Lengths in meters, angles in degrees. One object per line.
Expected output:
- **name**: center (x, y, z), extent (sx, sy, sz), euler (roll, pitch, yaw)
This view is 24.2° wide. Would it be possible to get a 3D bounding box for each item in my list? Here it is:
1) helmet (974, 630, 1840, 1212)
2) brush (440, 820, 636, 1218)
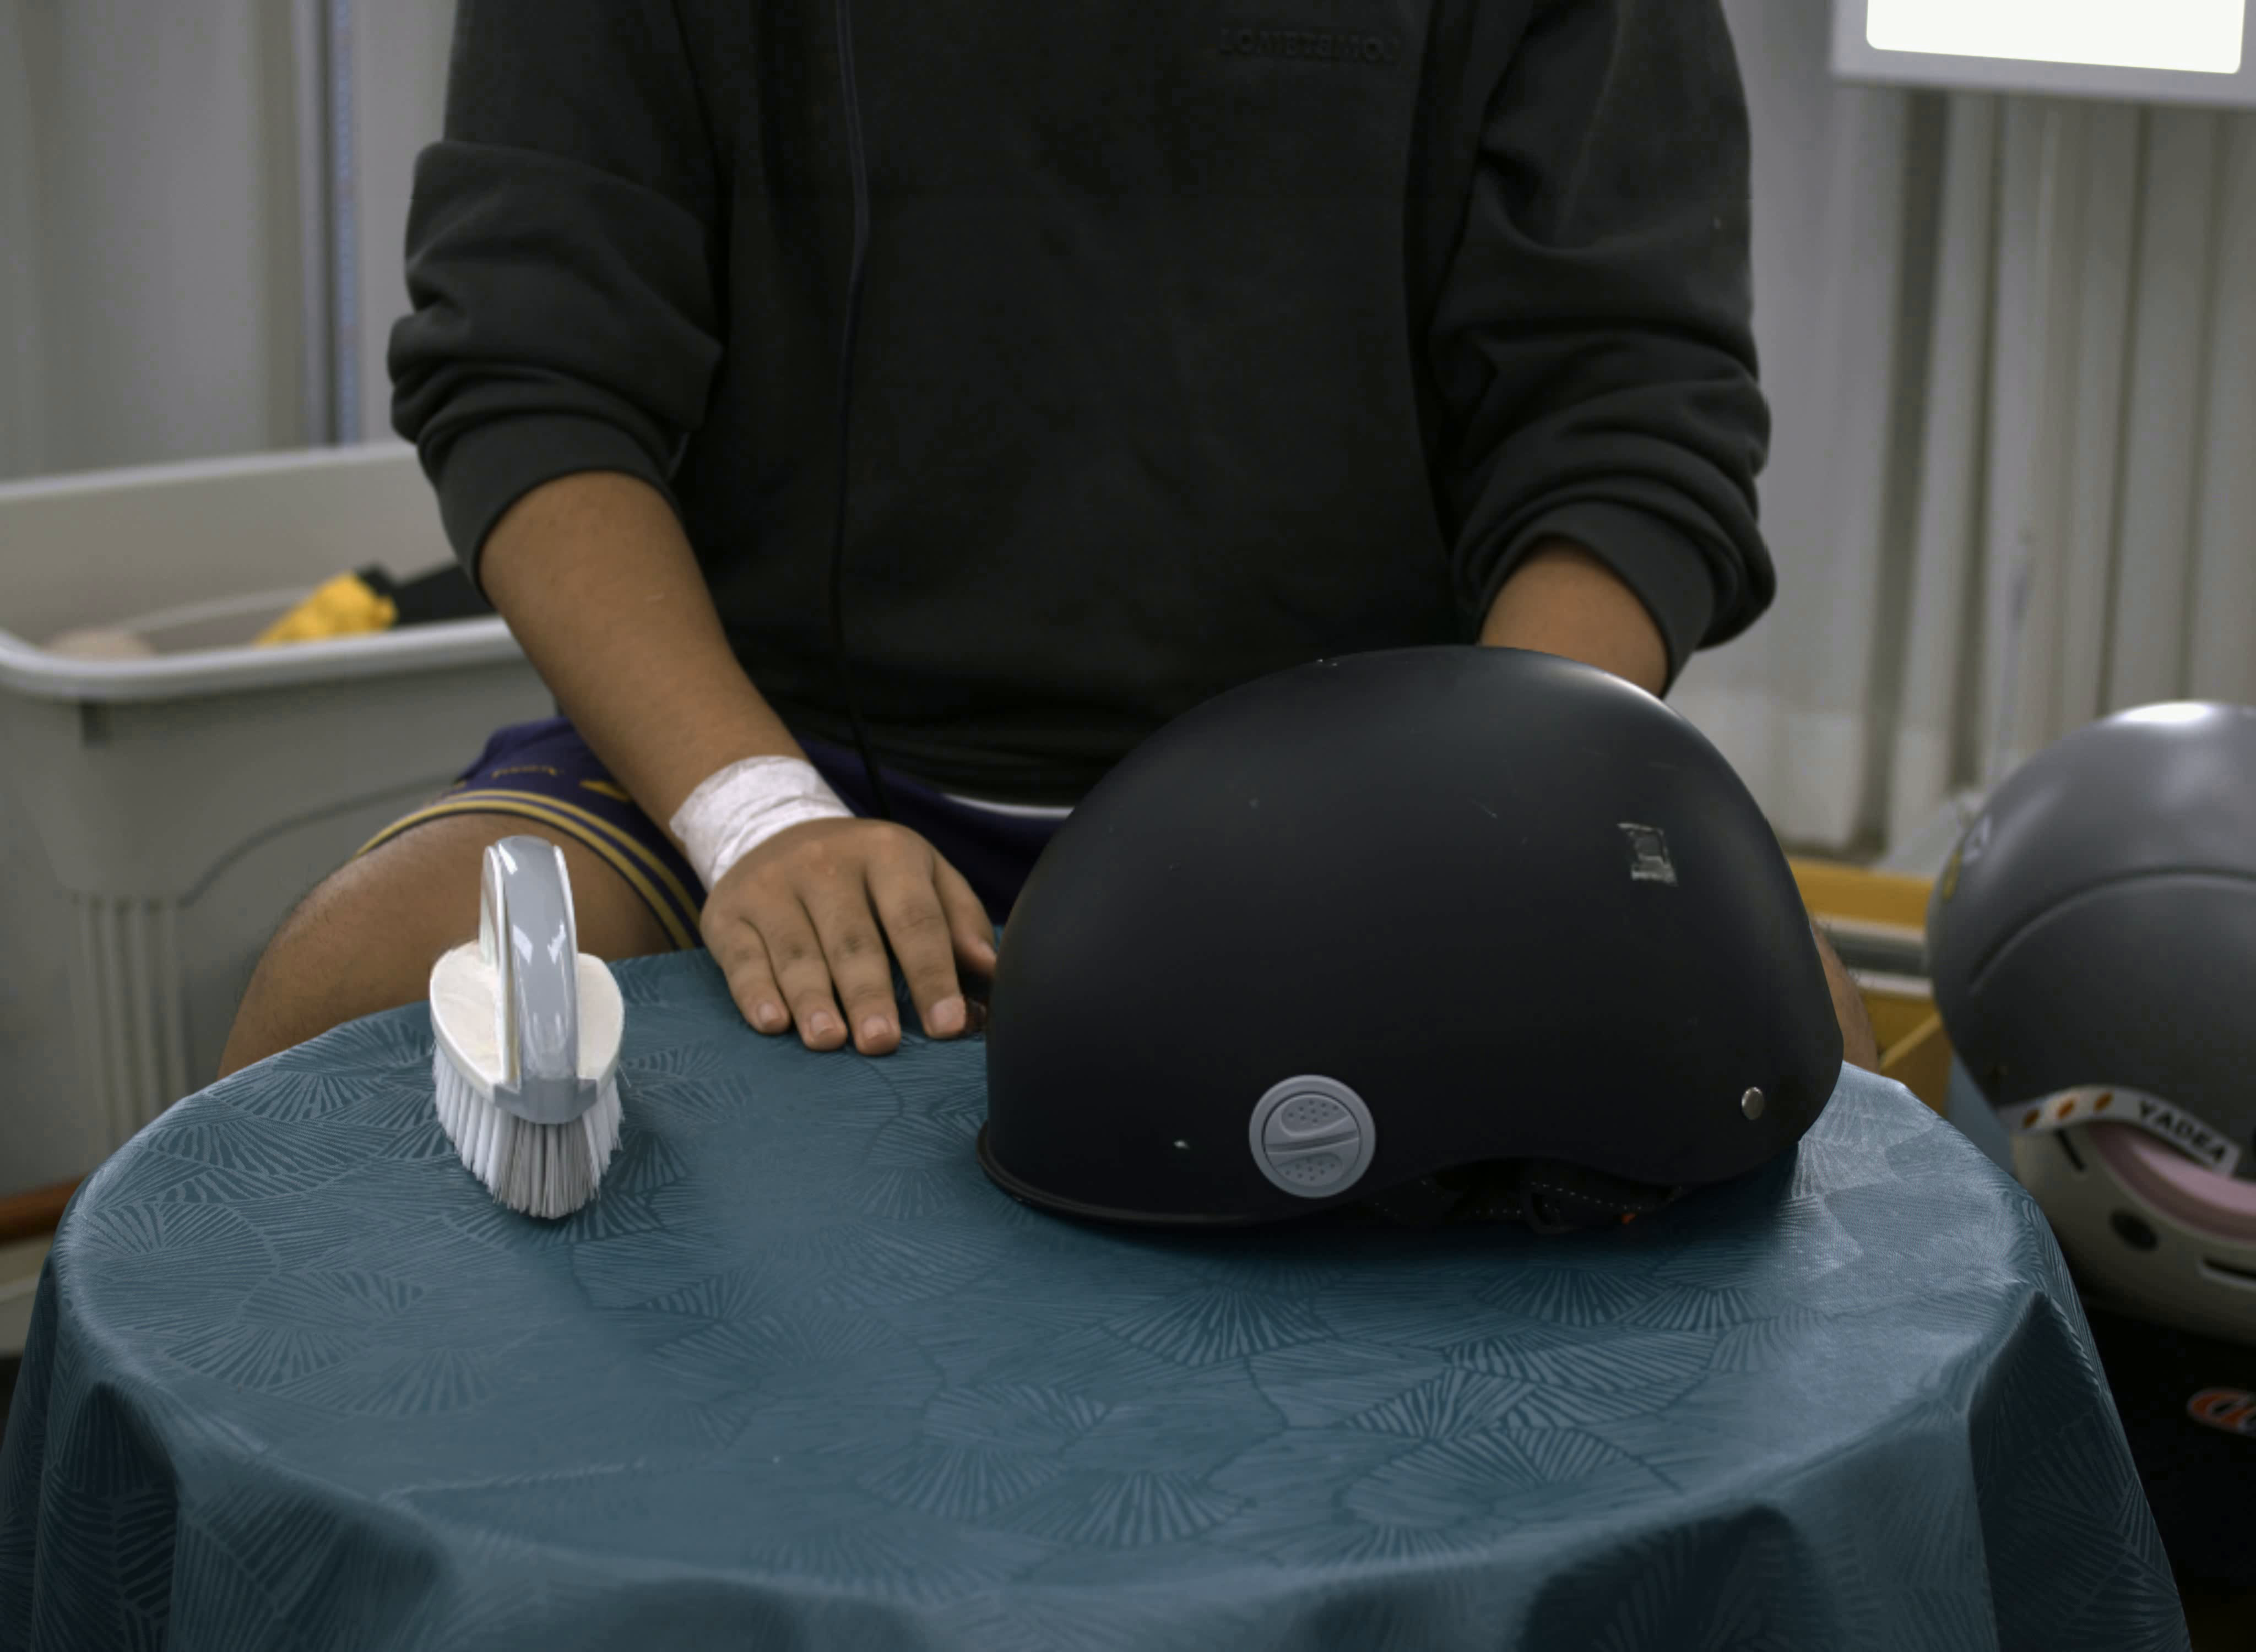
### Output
- **helmet**: center (0.085, 0.025, 1.642), extent (0.272, 0.168, 0.228), euler (-2, 15, -2)
- **brush**: center (-0.185, 0.055, 1.653), extent (0.061, 0.095, 0.174), euler (-3, 18, -9)
